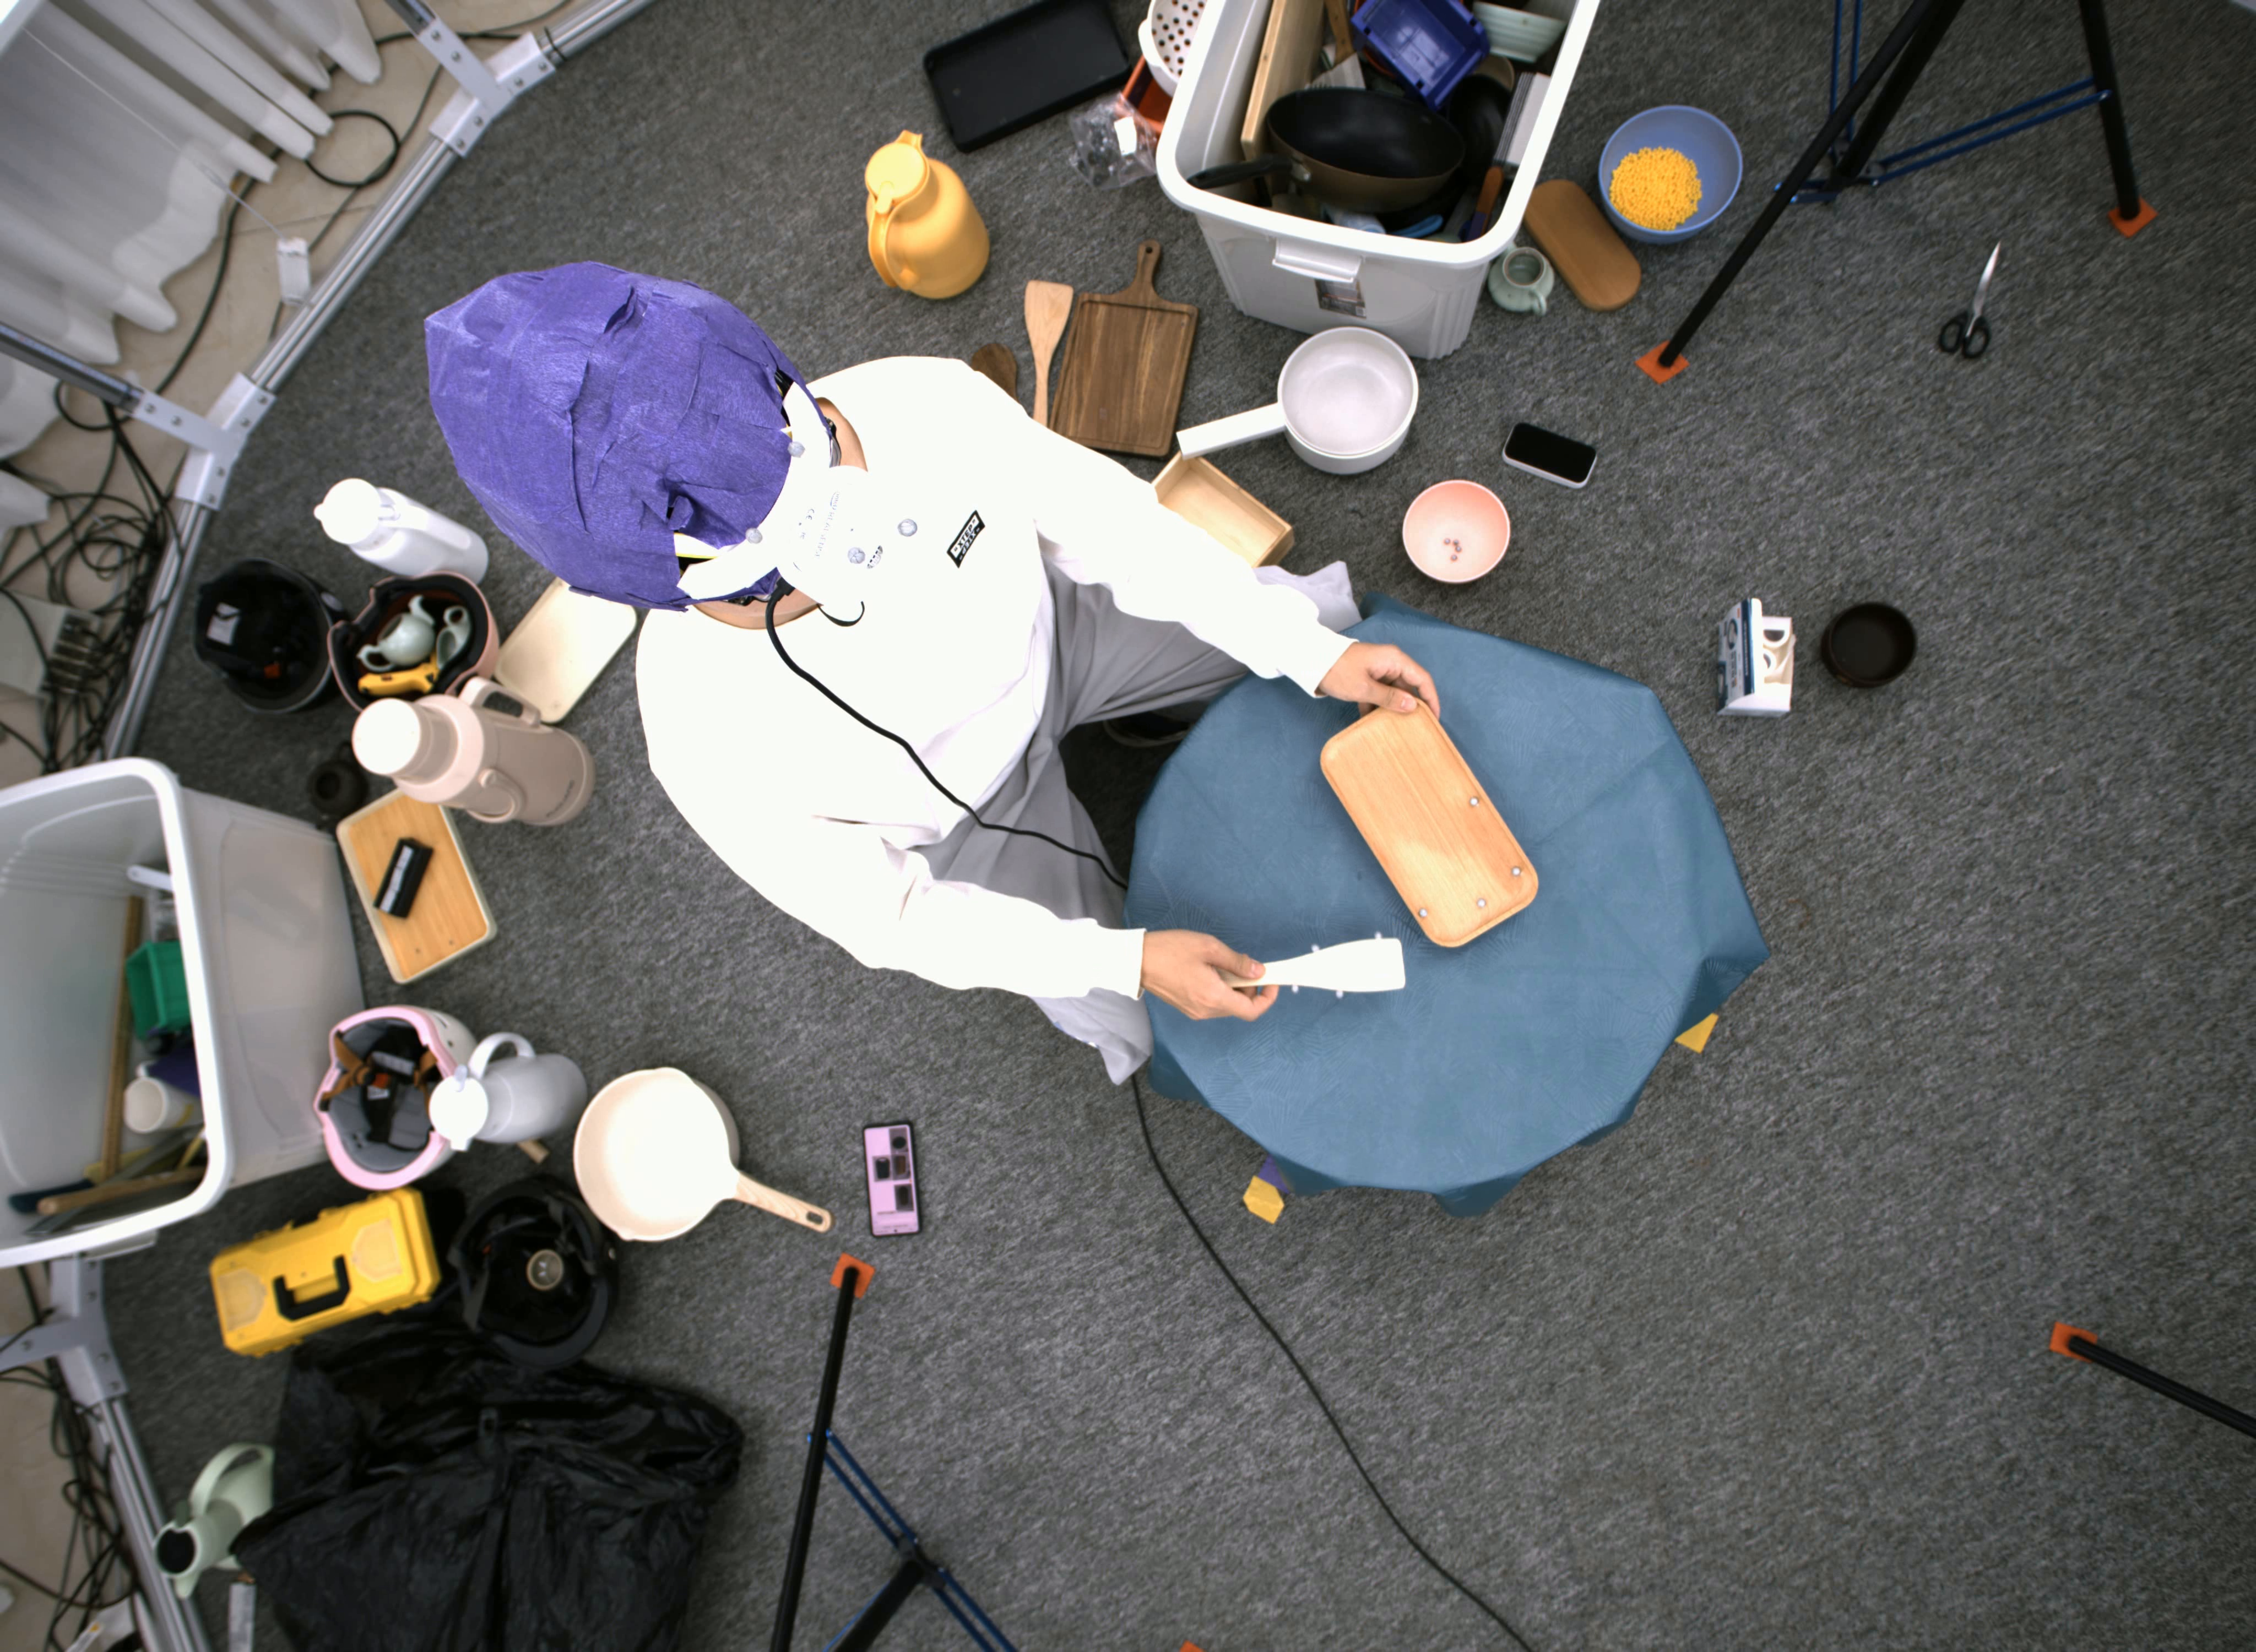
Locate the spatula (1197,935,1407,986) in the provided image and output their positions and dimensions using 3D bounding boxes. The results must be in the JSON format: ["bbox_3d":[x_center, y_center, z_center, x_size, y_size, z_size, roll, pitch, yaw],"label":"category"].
[{"bbox_3d":[0.172,0.139,1.380,0.208,0.005,0.050,-5,74,7],"label":"spatula"}]

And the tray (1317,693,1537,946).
[{"bbox_3d":[0.304,-0.009,1.404,0.131,0.023,0.249,-33,85,12],"label":"tray"}]
